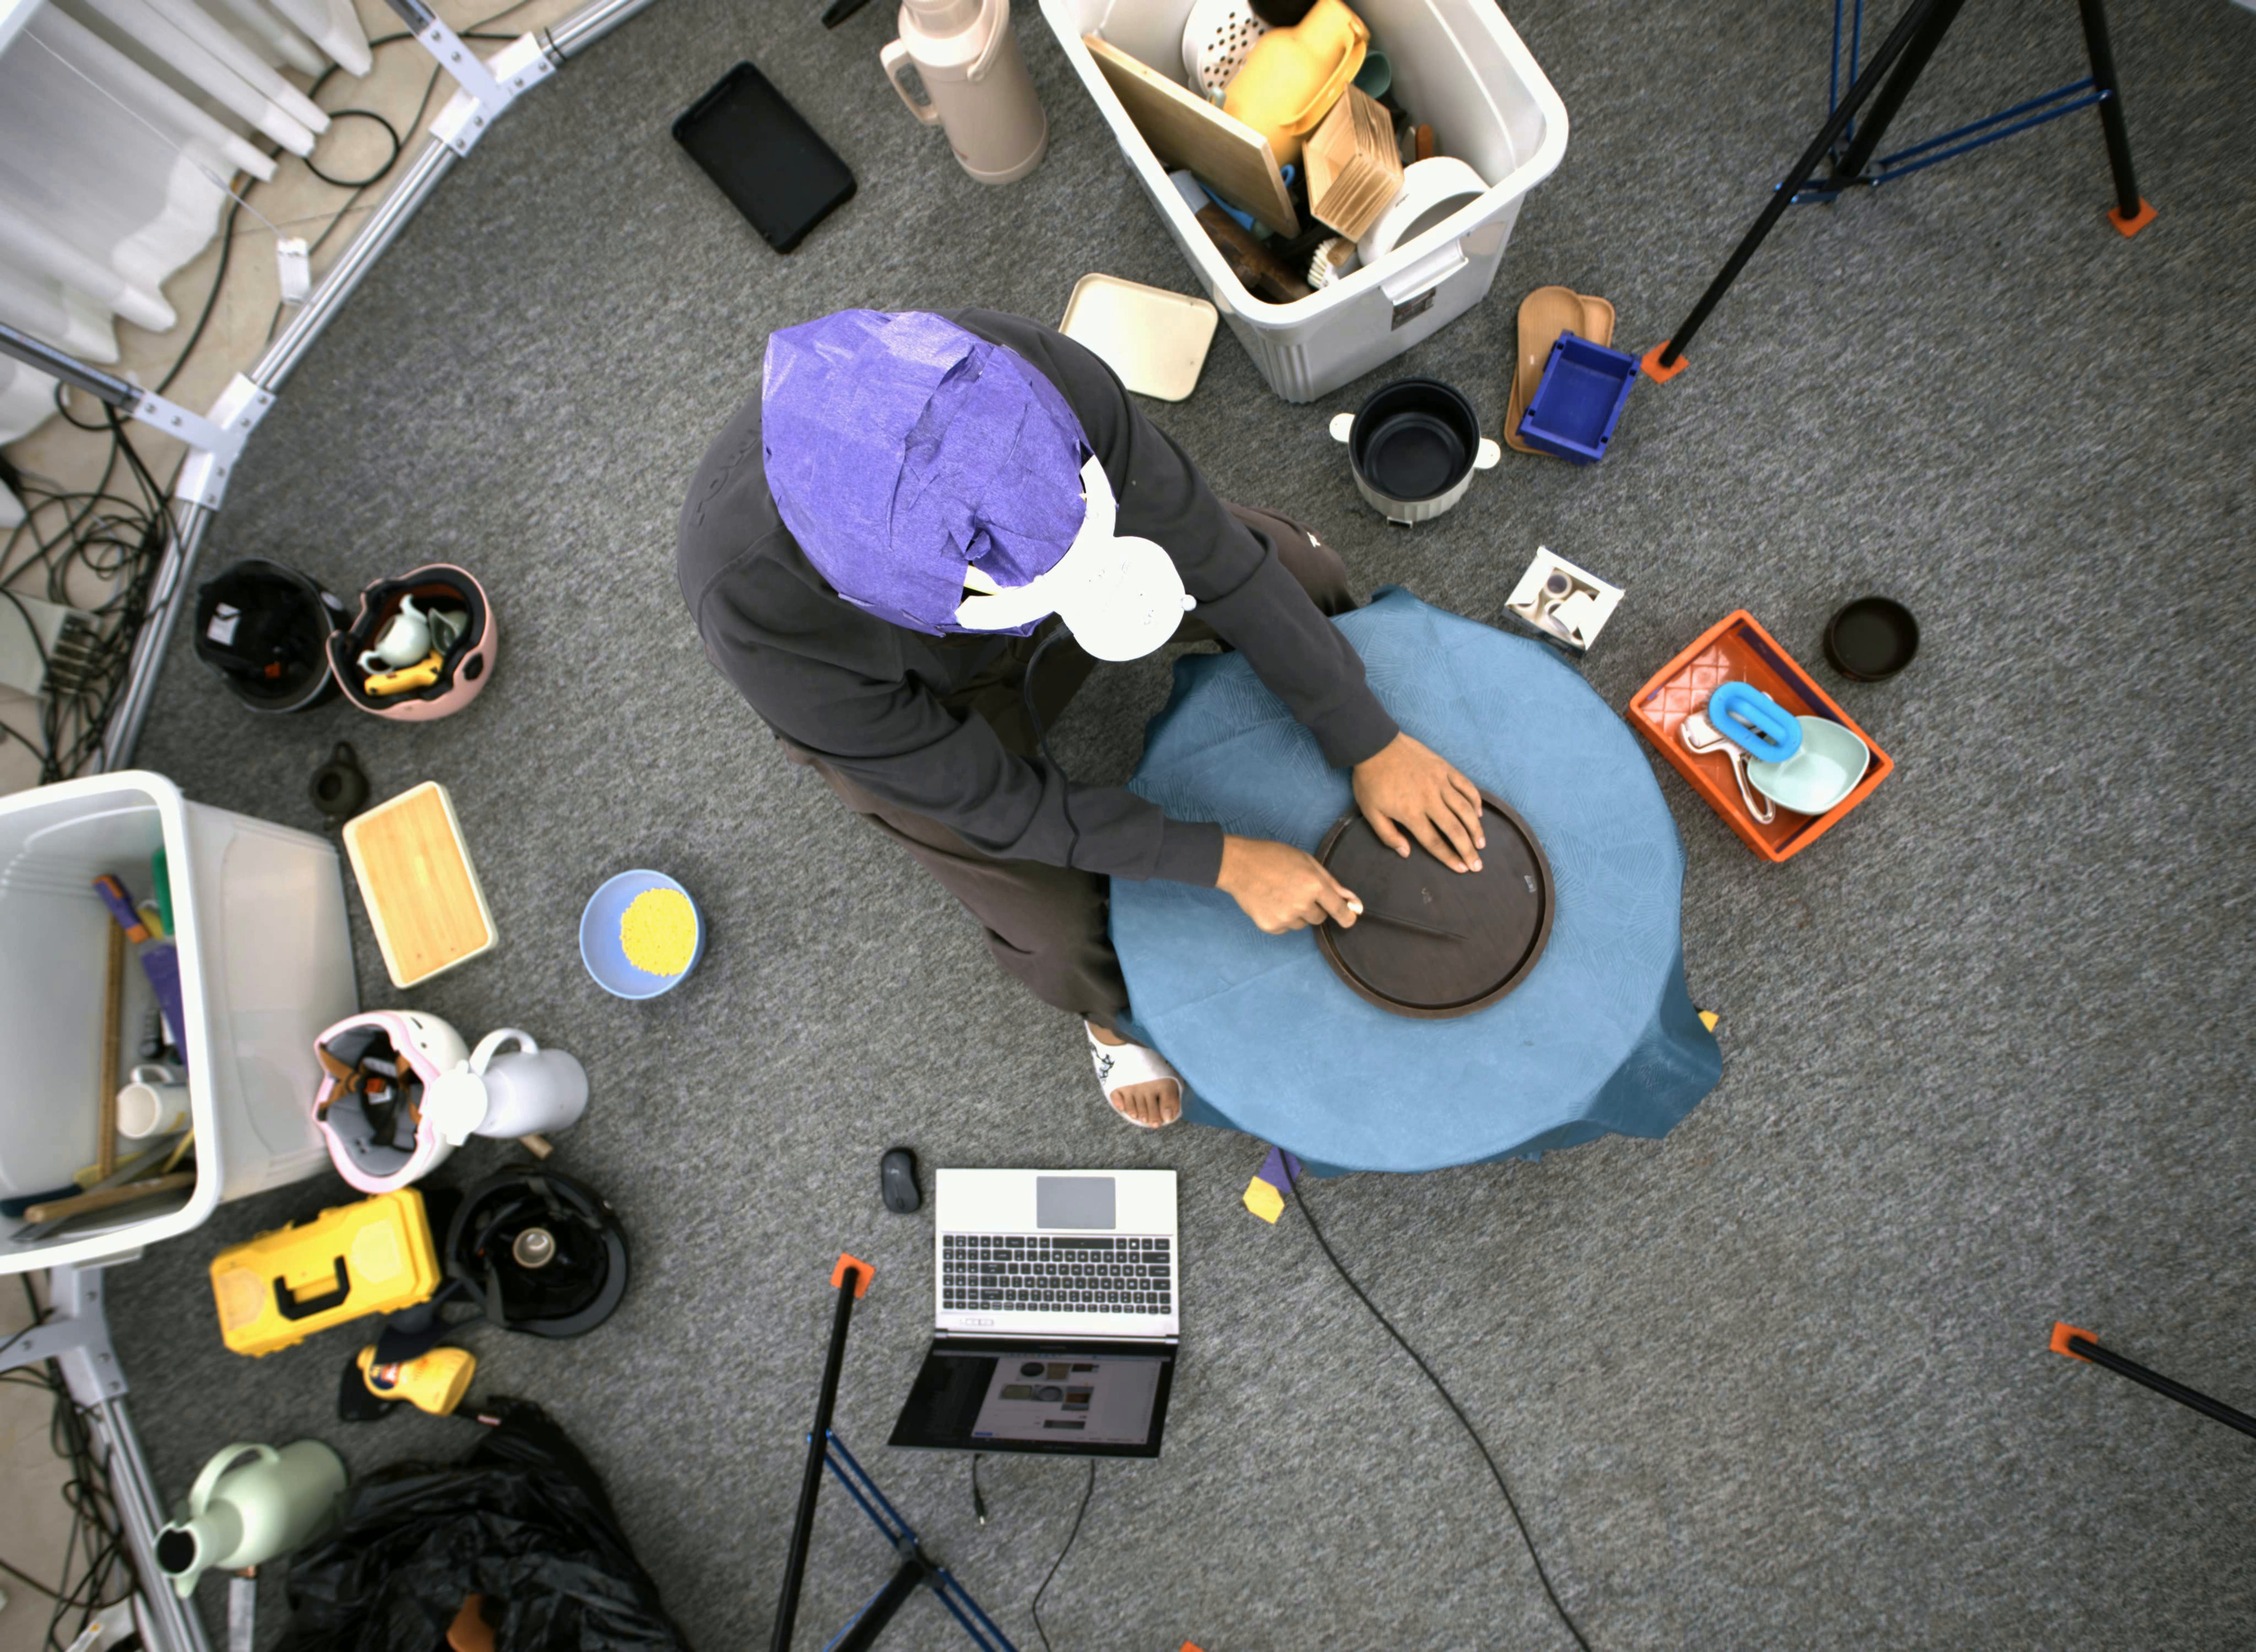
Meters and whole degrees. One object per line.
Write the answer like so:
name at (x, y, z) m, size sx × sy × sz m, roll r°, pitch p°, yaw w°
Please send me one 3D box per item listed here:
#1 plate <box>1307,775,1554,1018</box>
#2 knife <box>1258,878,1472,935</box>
plate at (0.315, 0.072, 1.441) m, size 0.256 × 0.029 × 0.254 m, roll -1°, pitch 87°, yaw 12°
knife at (0.245, 0.084, 1.431) m, size 0.226 × 0.026 × 0.017 m, roll 13°, pitch 96°, yaw 8°
